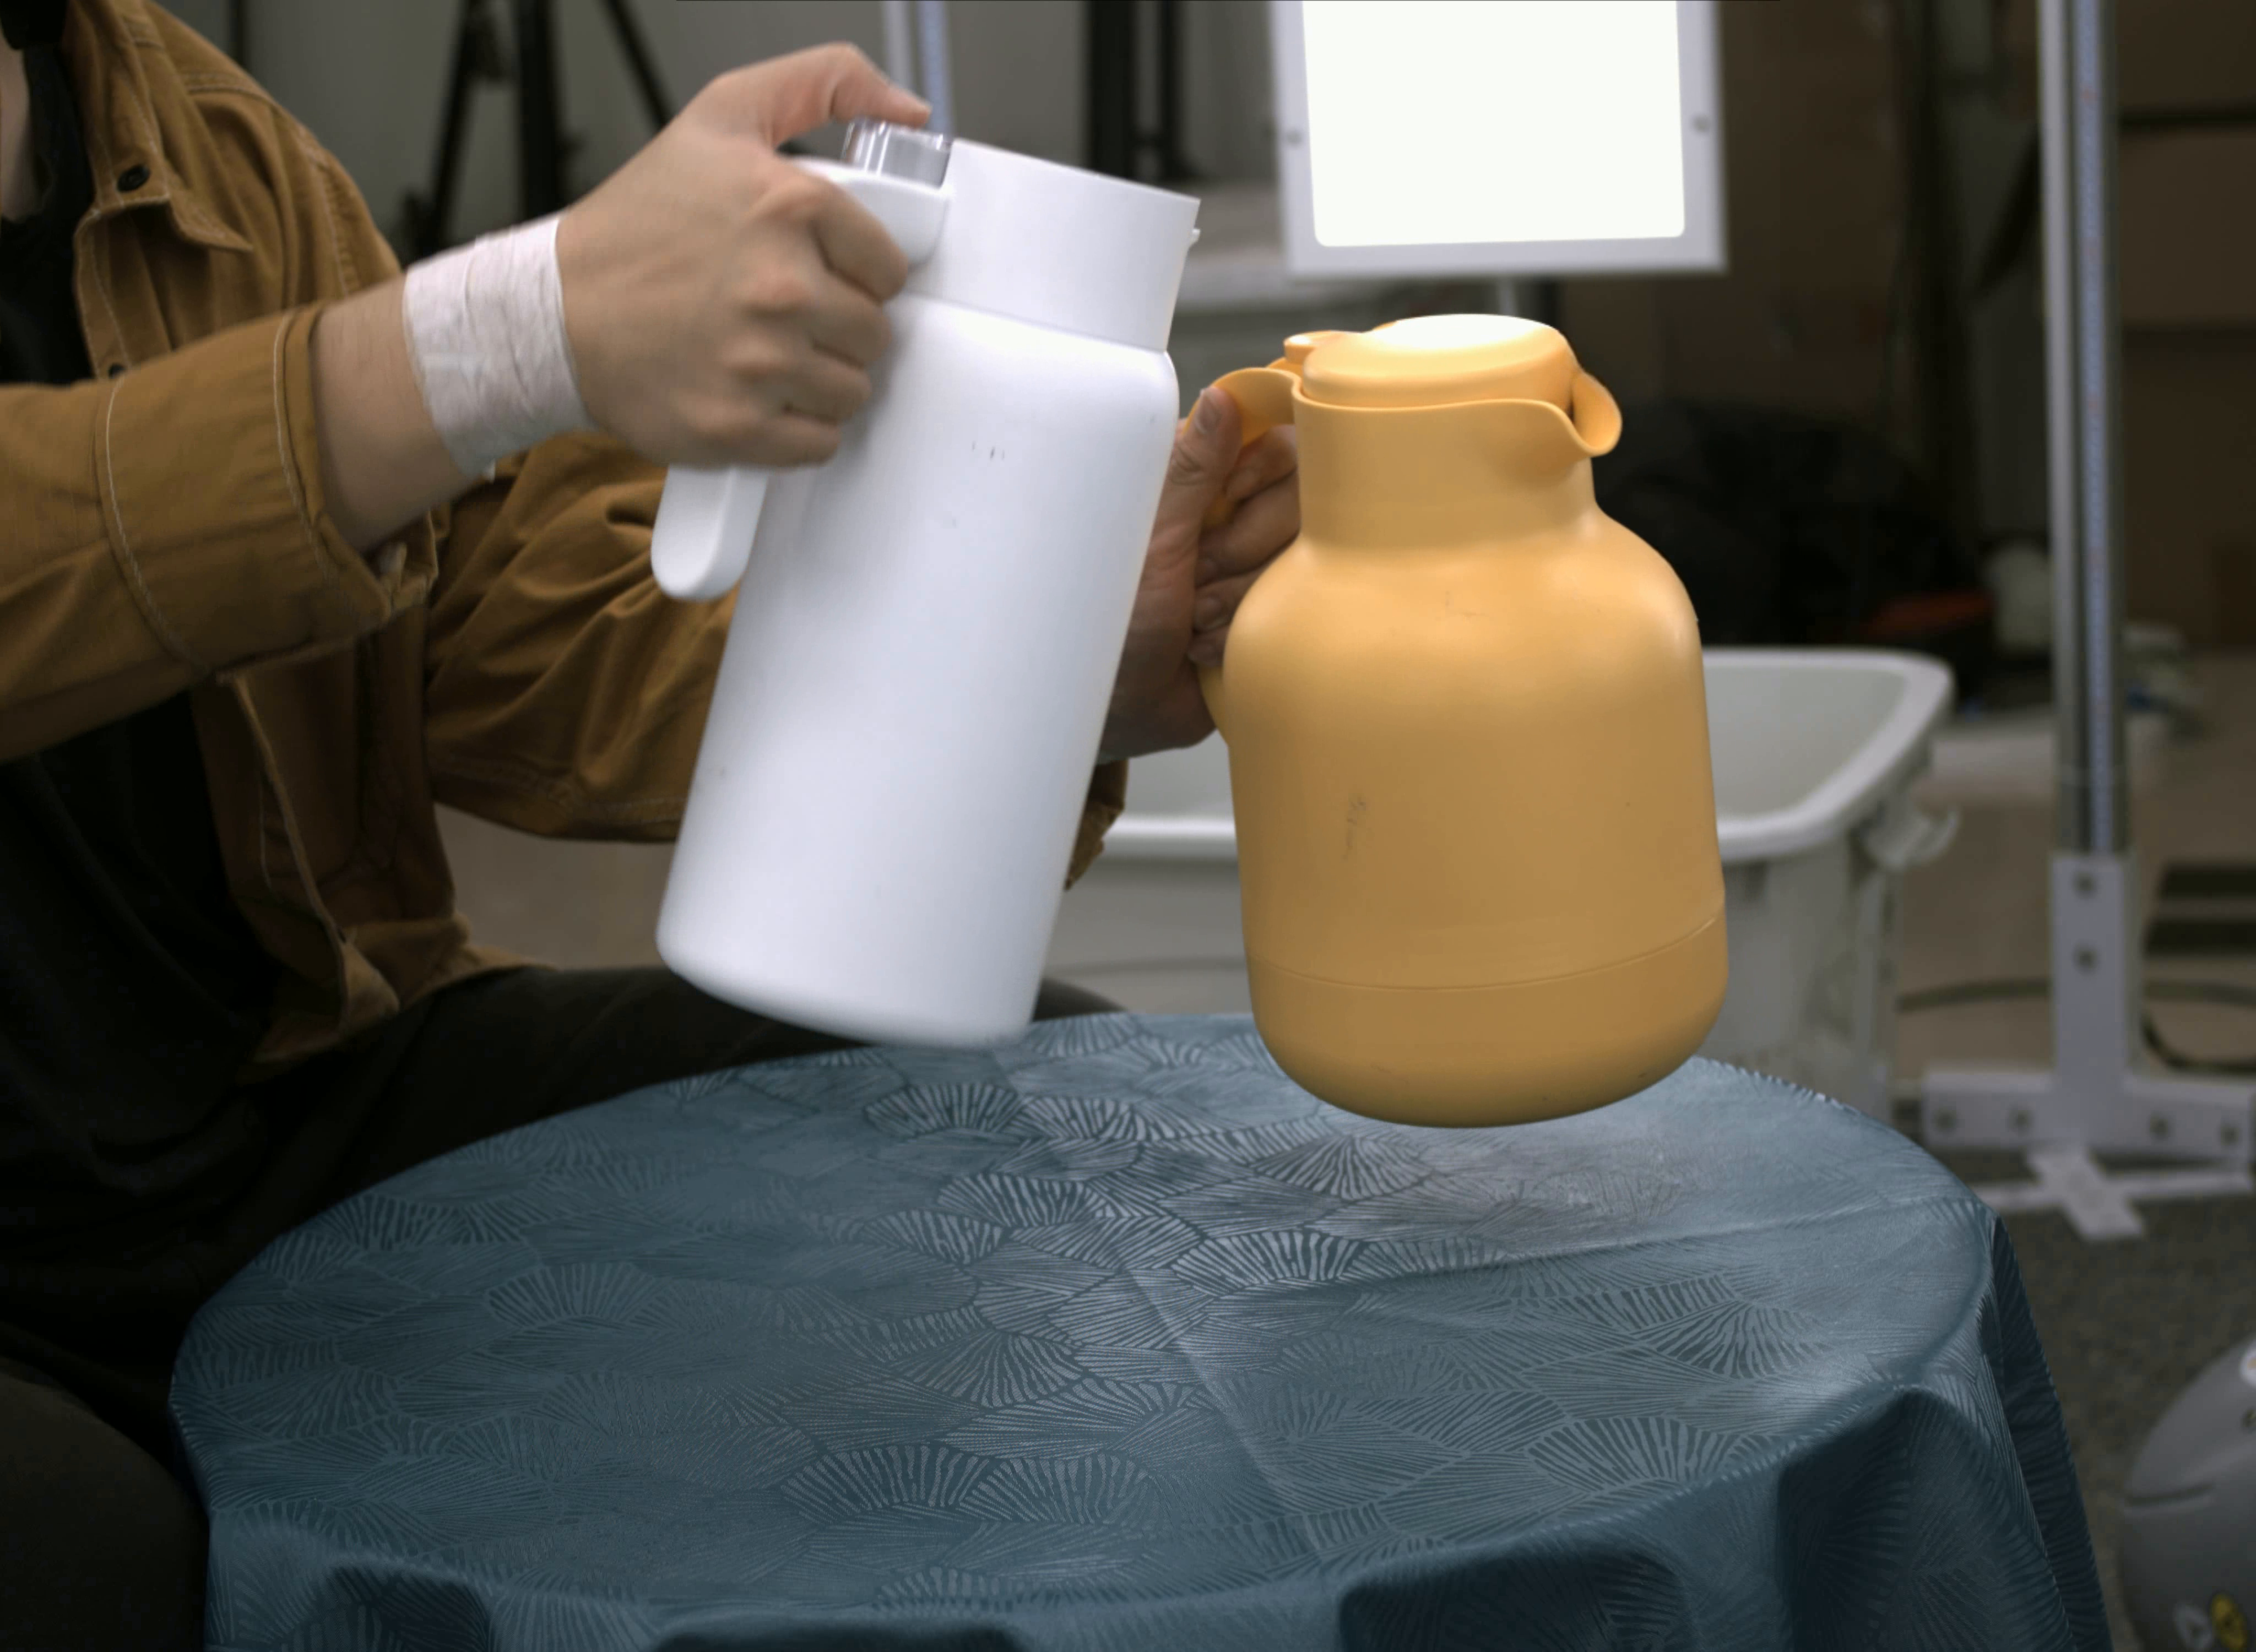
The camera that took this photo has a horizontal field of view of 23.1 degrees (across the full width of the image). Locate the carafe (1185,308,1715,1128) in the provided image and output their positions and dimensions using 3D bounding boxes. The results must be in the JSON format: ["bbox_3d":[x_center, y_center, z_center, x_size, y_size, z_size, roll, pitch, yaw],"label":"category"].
[{"bbox_3d":[0.100,-0.044,1.844,0.159,0.261,0.206,-15,20,-36],"label":"carafe"}]

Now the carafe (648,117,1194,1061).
[{"bbox_3d":[-0.069,-0.071,1.645,0.168,0.270,0.126,5,13,-44],"label":"carafe"}]
